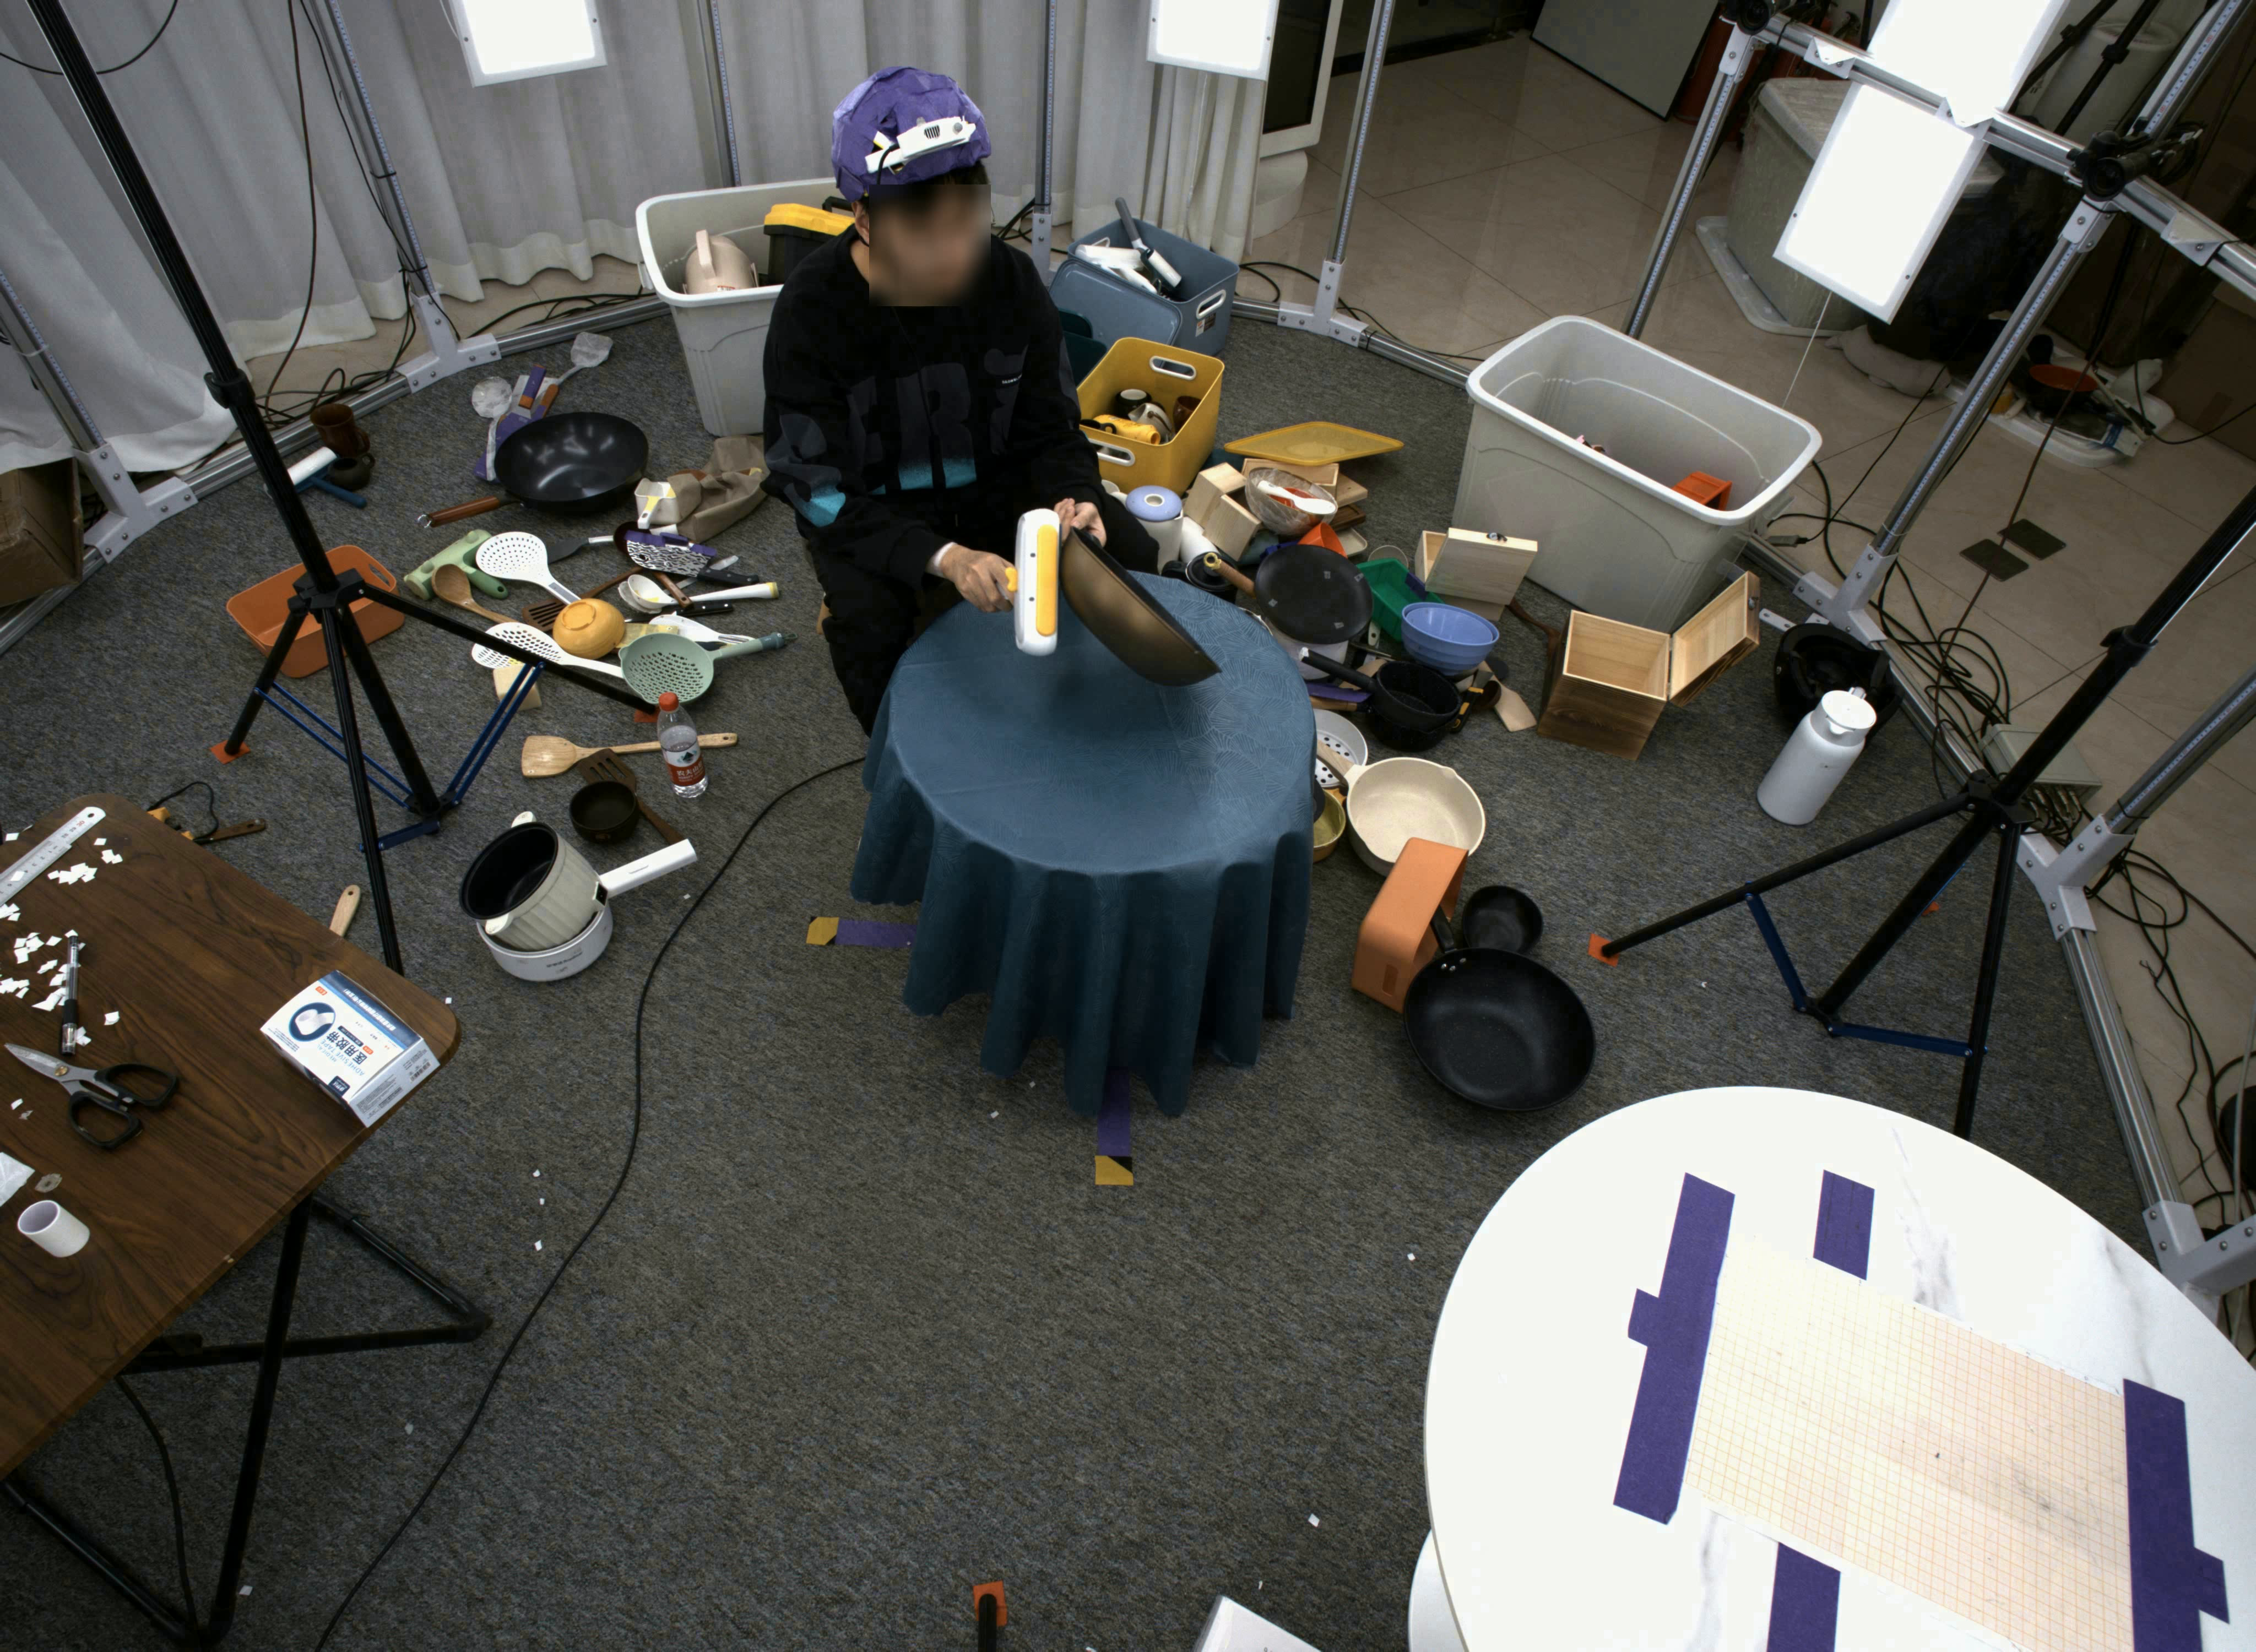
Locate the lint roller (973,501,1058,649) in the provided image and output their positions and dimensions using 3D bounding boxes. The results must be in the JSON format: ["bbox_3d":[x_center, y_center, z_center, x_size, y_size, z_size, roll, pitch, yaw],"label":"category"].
[{"bbox_3d":[-0.153,-0.329,1.746,0.074,0.192,0.193,-4,89,-25],"label":"lint roller"}]

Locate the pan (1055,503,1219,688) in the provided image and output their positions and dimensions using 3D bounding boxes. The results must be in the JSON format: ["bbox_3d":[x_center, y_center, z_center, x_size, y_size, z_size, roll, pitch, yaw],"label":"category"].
[{"bbox_3d":[-0.039,-0.332,1.798,0.086,0.283,0.474,-45,42,11],"label":"pan"}]
